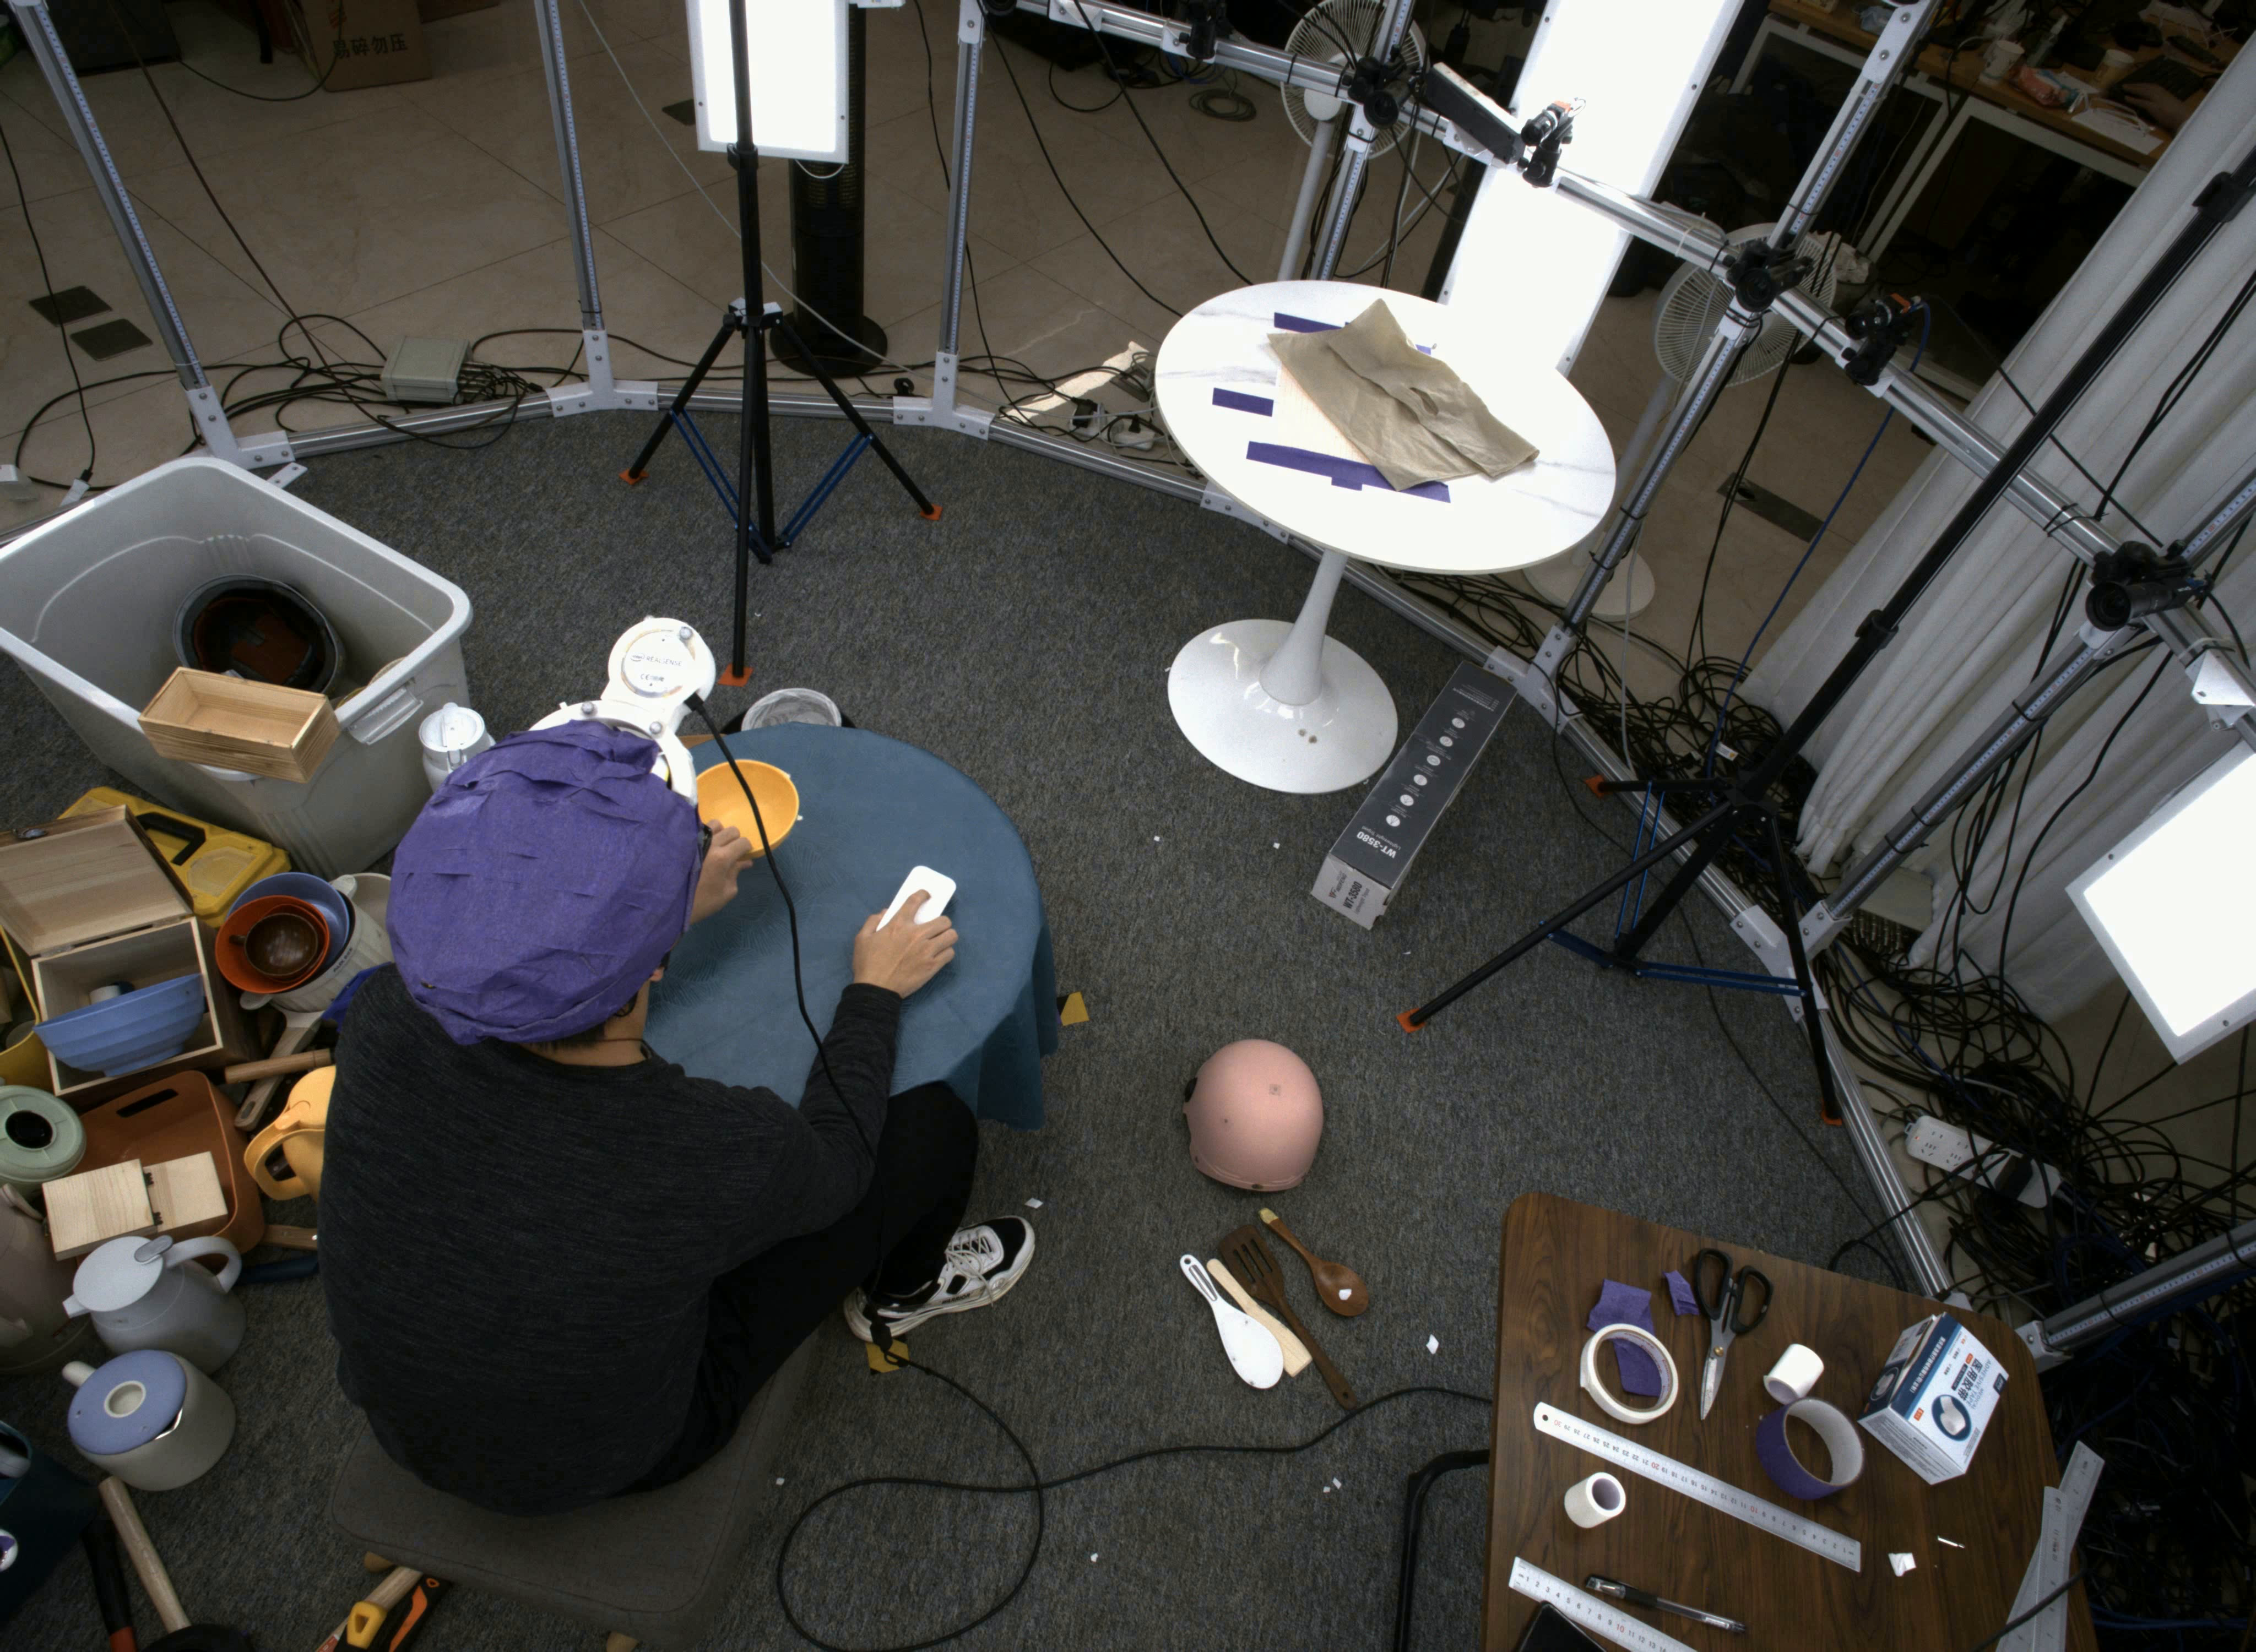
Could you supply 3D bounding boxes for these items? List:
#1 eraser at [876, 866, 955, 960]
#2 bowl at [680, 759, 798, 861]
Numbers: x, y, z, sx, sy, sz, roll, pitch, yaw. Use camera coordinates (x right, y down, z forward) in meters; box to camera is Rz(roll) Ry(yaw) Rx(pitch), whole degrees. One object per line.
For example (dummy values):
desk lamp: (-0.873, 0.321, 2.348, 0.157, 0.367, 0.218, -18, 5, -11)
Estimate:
eraser: (-0.270, 0.106, 1.649, 0.063, 0.035, 0.130, 26, 49, -1)
bowl: (-0.478, -0.010, 1.608, 0.144, 0.061, 0.143, 3, 56, -3)
